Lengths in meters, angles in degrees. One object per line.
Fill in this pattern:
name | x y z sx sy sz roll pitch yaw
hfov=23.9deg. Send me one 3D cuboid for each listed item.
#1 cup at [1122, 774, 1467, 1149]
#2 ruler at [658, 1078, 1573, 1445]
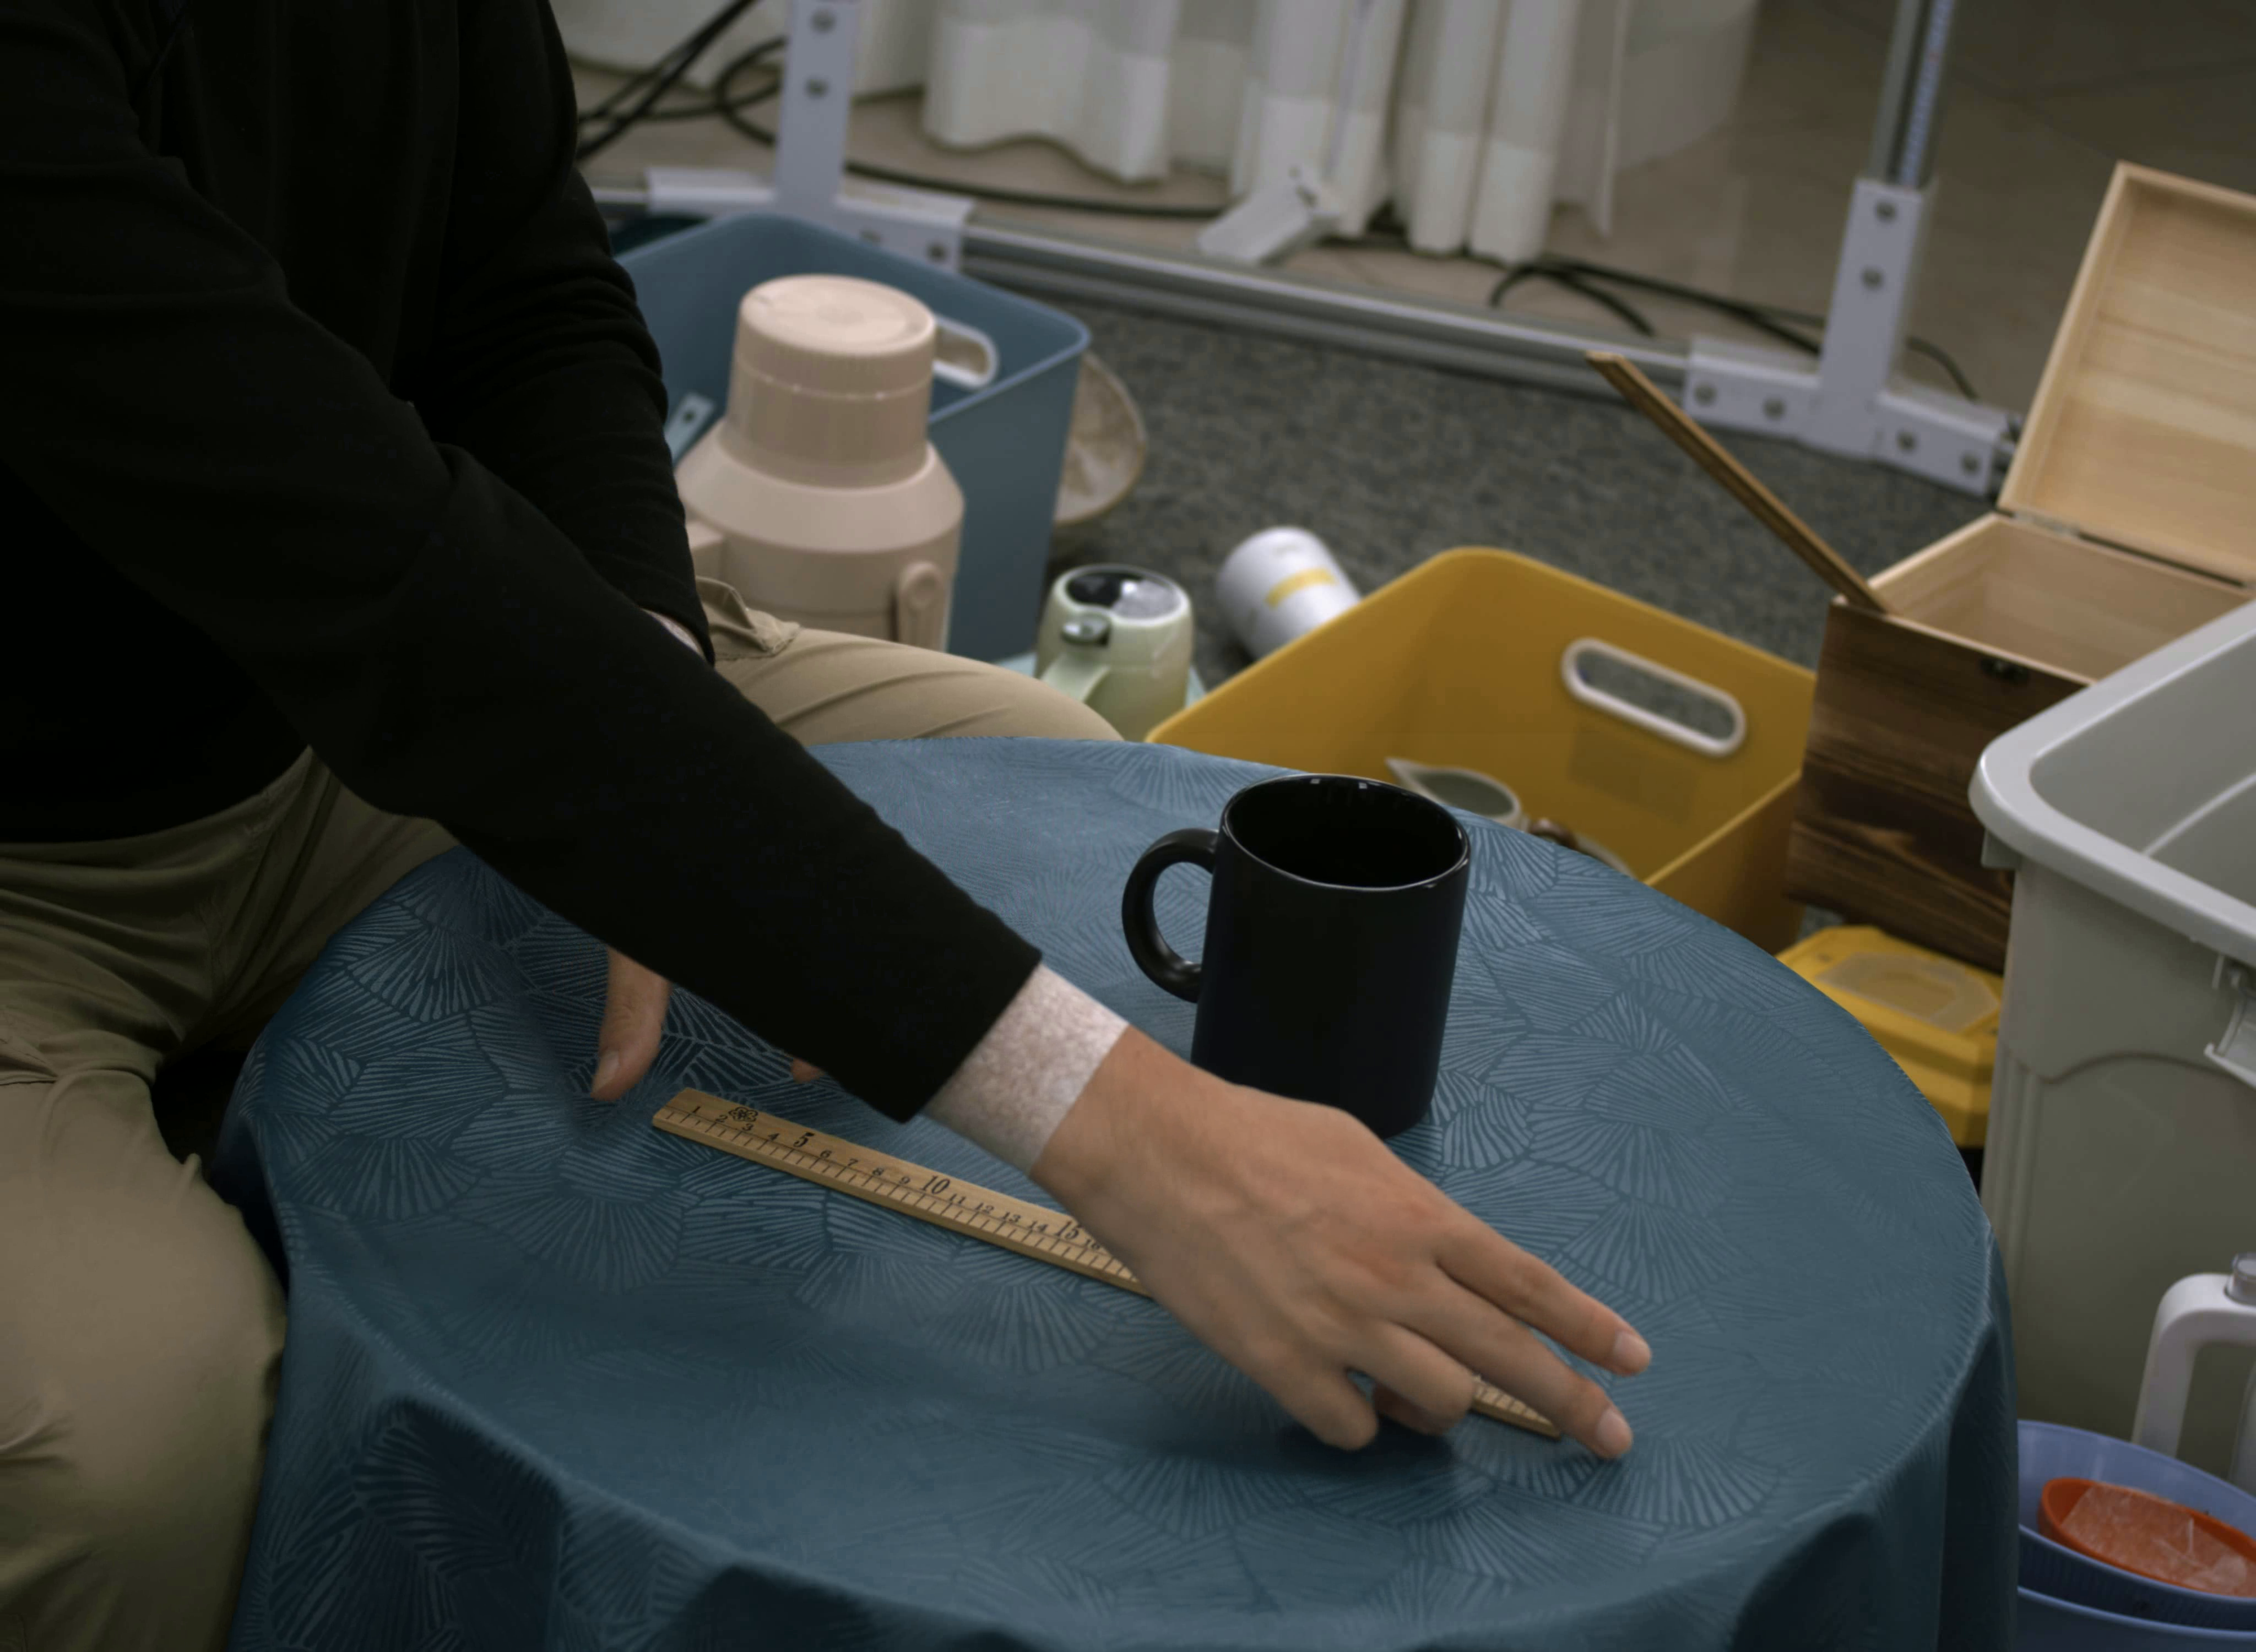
cup | 0.054 0.042 1.863 0.124 0.105 0.088 18 30 23
ruler | -0.008 0.139 1.759 0.333 0.022 0.027 19 26 22
